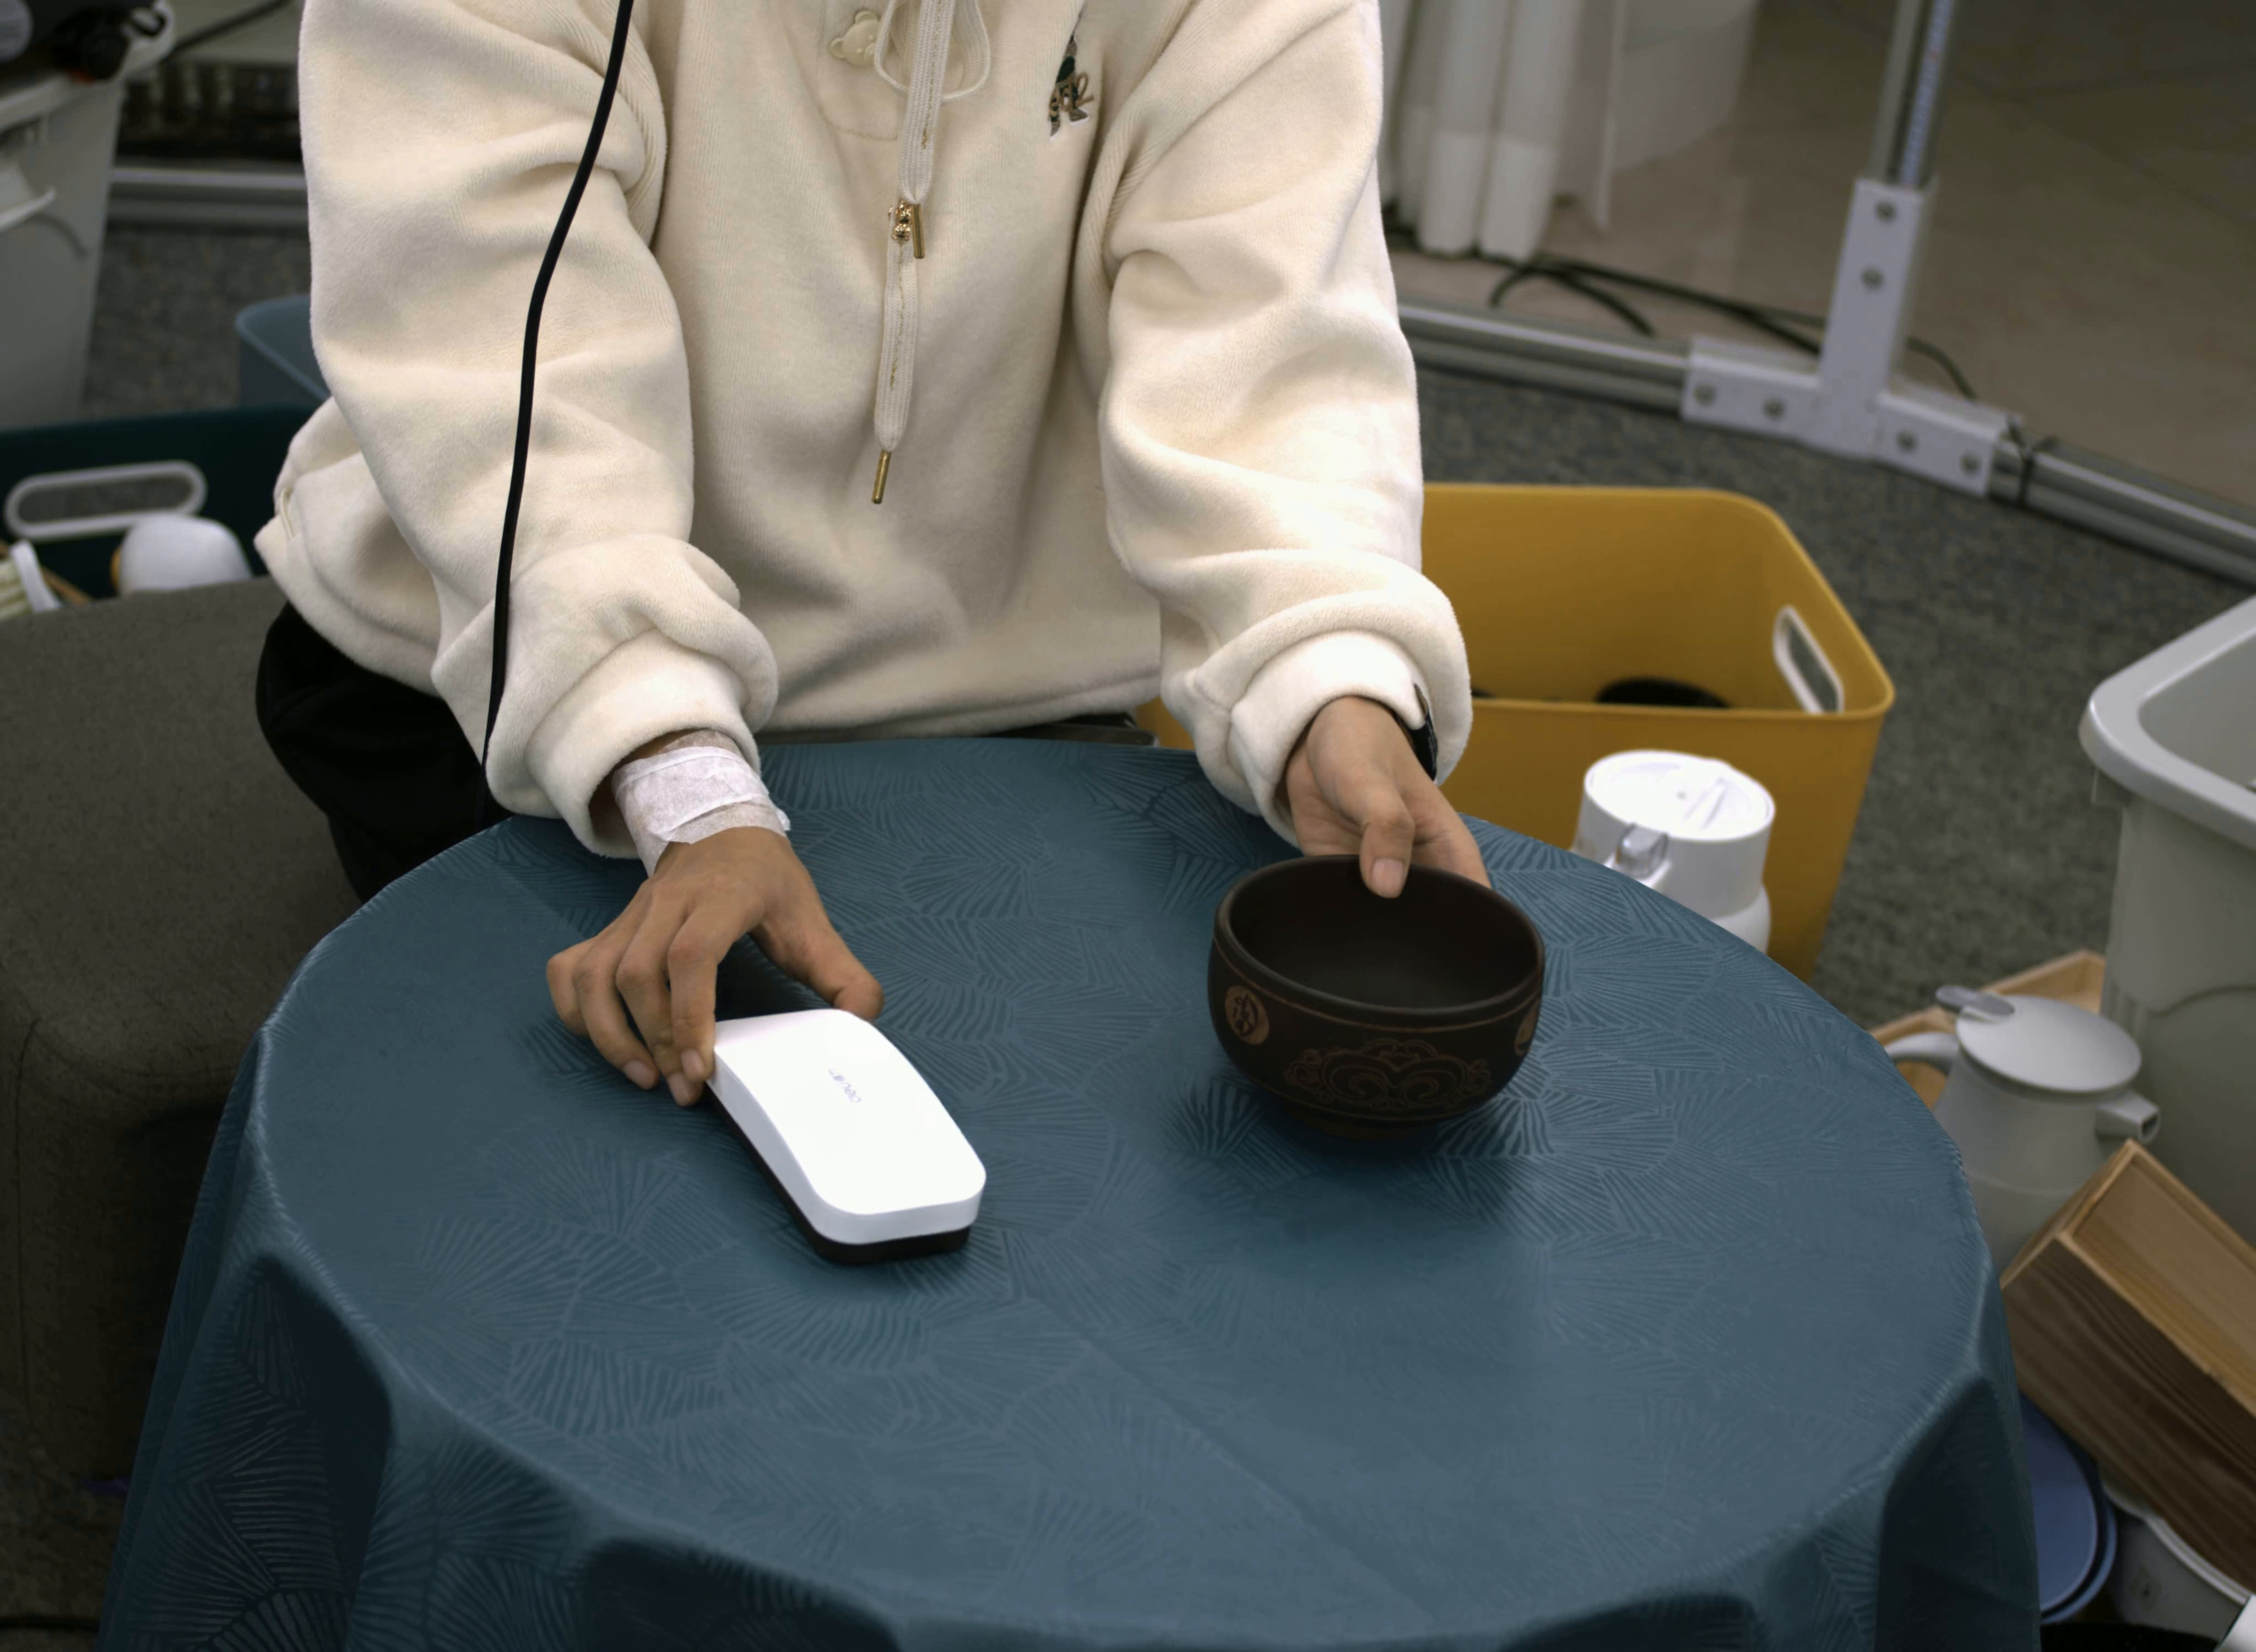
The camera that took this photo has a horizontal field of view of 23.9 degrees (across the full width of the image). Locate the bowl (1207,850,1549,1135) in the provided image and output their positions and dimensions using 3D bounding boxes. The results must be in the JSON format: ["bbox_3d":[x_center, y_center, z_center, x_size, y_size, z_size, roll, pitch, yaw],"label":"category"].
[{"bbox_3d":[0.084,0.064,1.857,0.117,0.069,0.119,6,25,-3],"label":"bowl"}]

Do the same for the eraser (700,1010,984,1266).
[{"bbox_3d":[-0.097,0.101,1.792,0.063,0.034,0.132,-6,30,-24],"label":"eraser"}]
